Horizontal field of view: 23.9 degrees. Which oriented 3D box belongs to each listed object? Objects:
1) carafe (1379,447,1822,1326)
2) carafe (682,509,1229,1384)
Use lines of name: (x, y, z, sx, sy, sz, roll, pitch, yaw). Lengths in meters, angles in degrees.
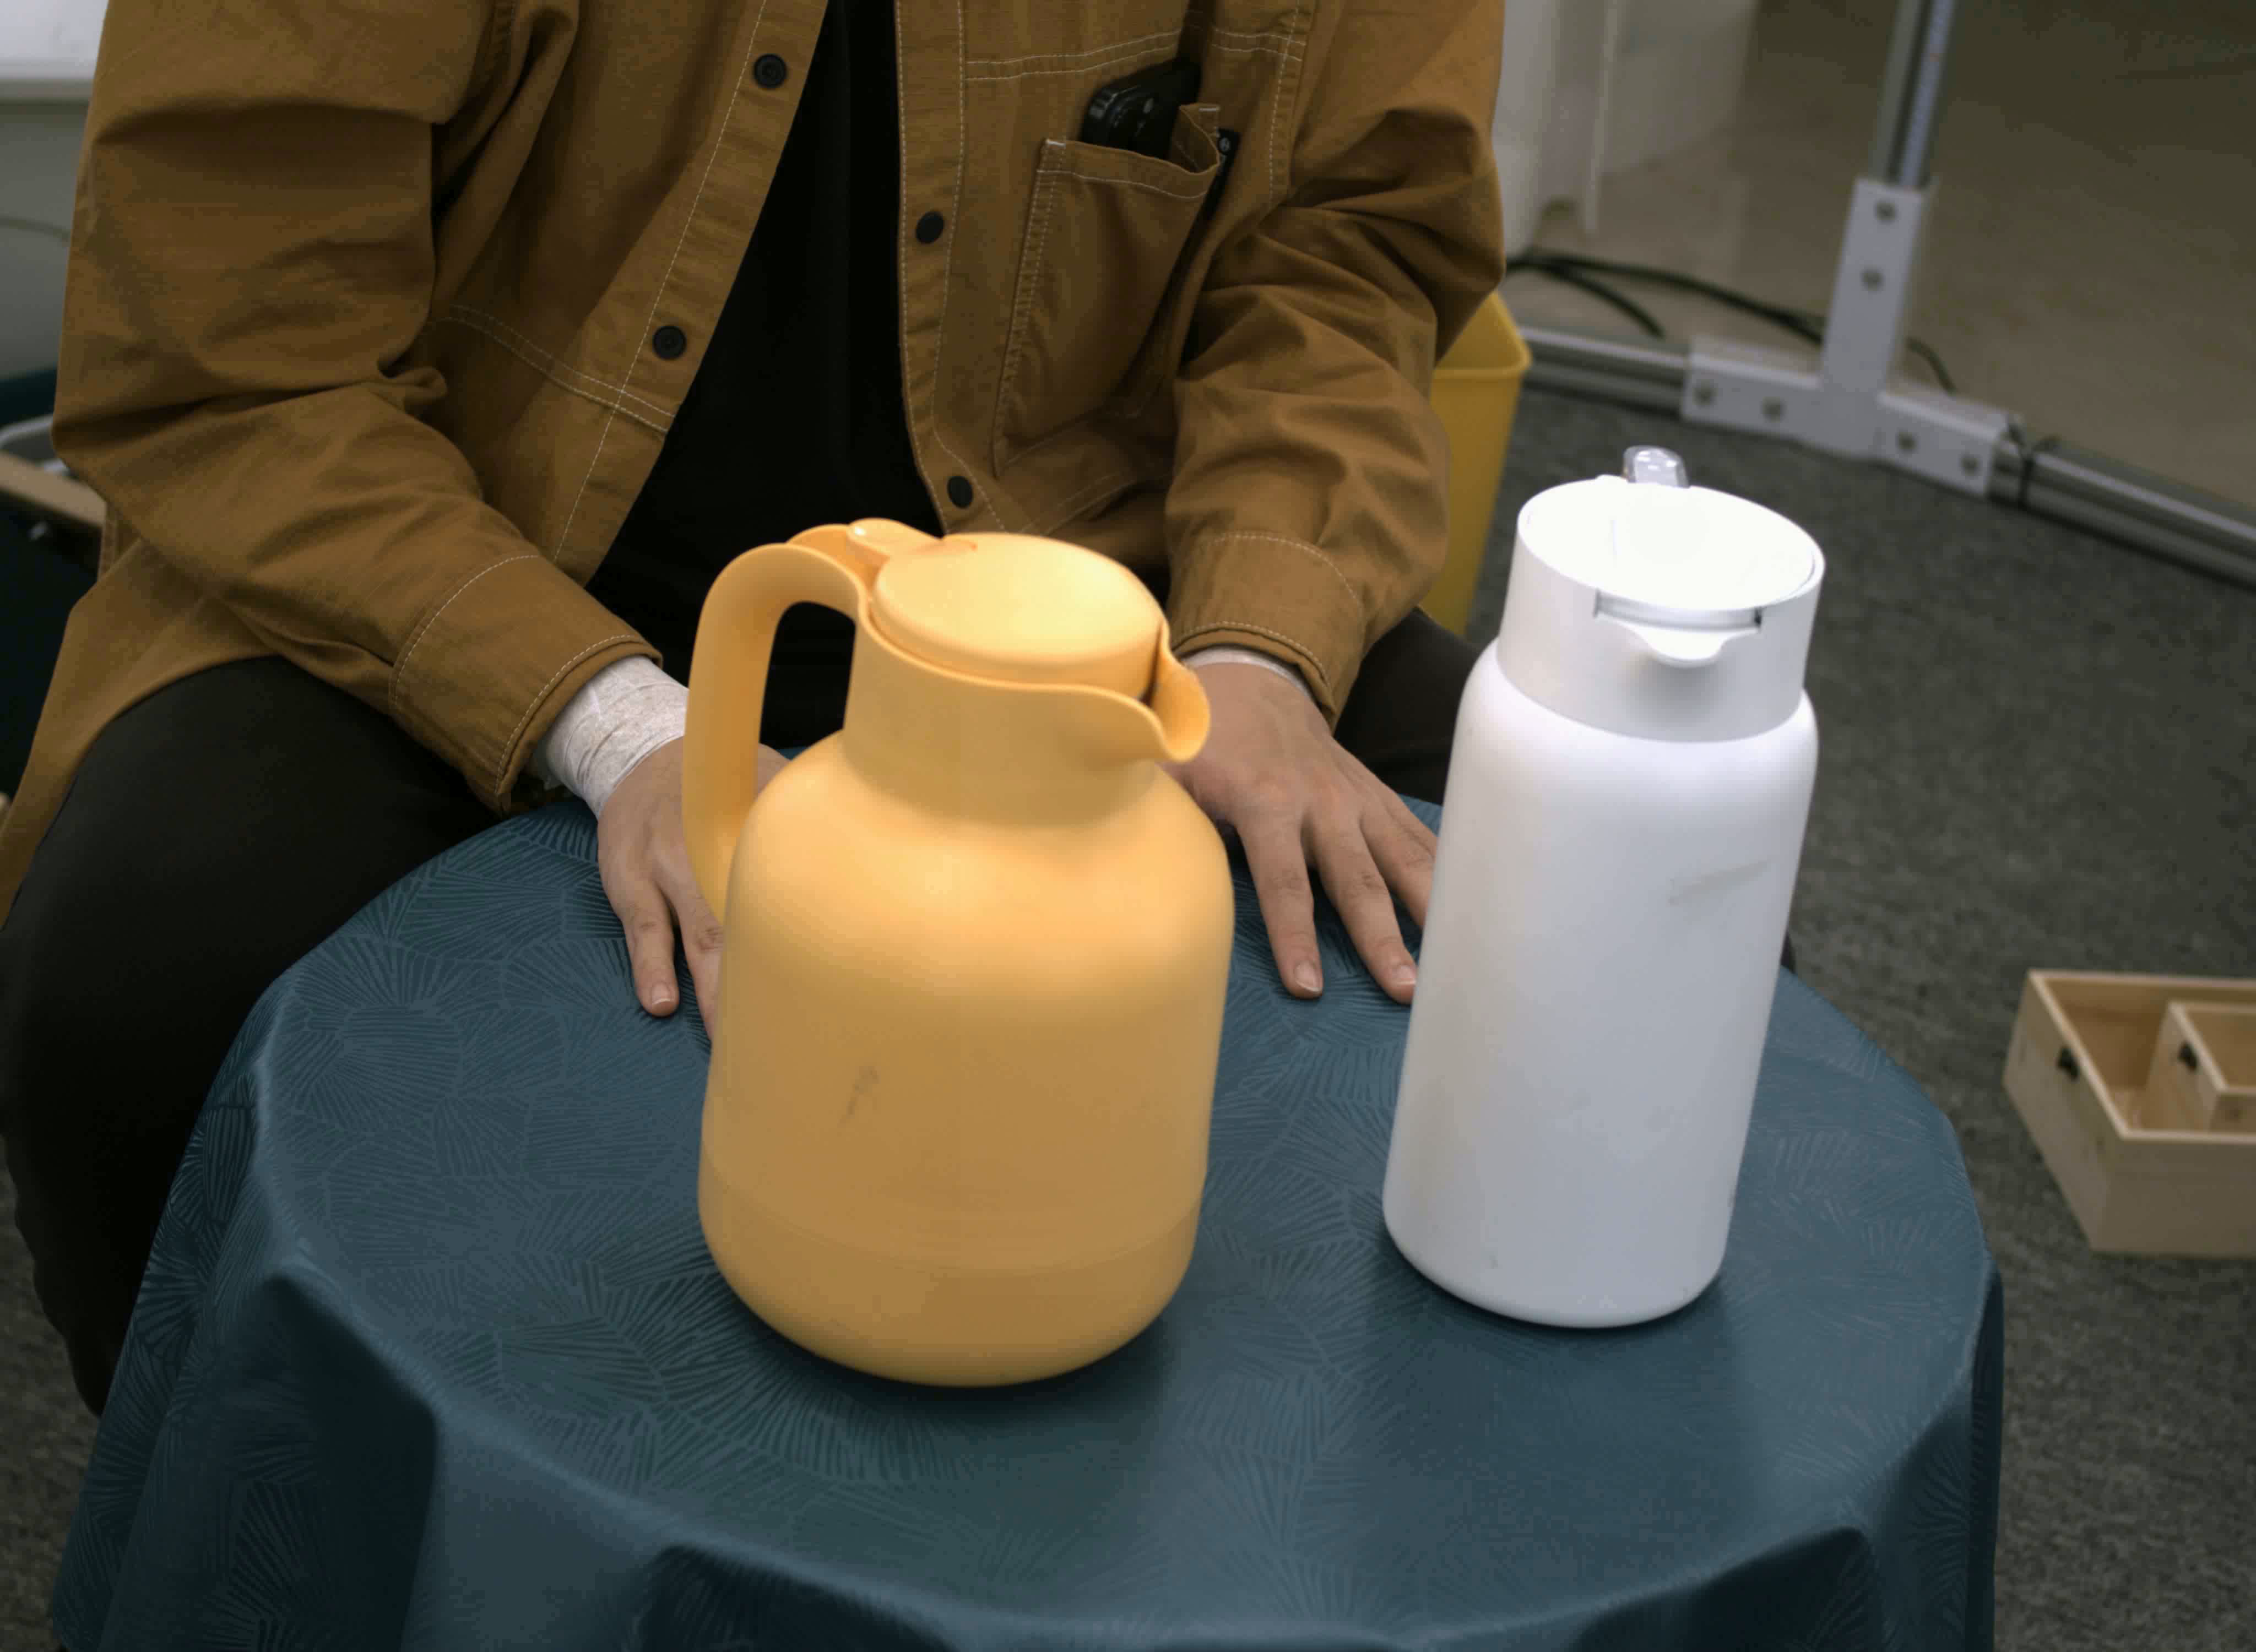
carafe: (0.155, 0.016, 1.757, 0.123, 0.268, 0.174, 4, 26, -2)
carafe: (-0.063, 0.028, 1.691, 0.204, 0.260, 0.162, 29, 31, 35)
